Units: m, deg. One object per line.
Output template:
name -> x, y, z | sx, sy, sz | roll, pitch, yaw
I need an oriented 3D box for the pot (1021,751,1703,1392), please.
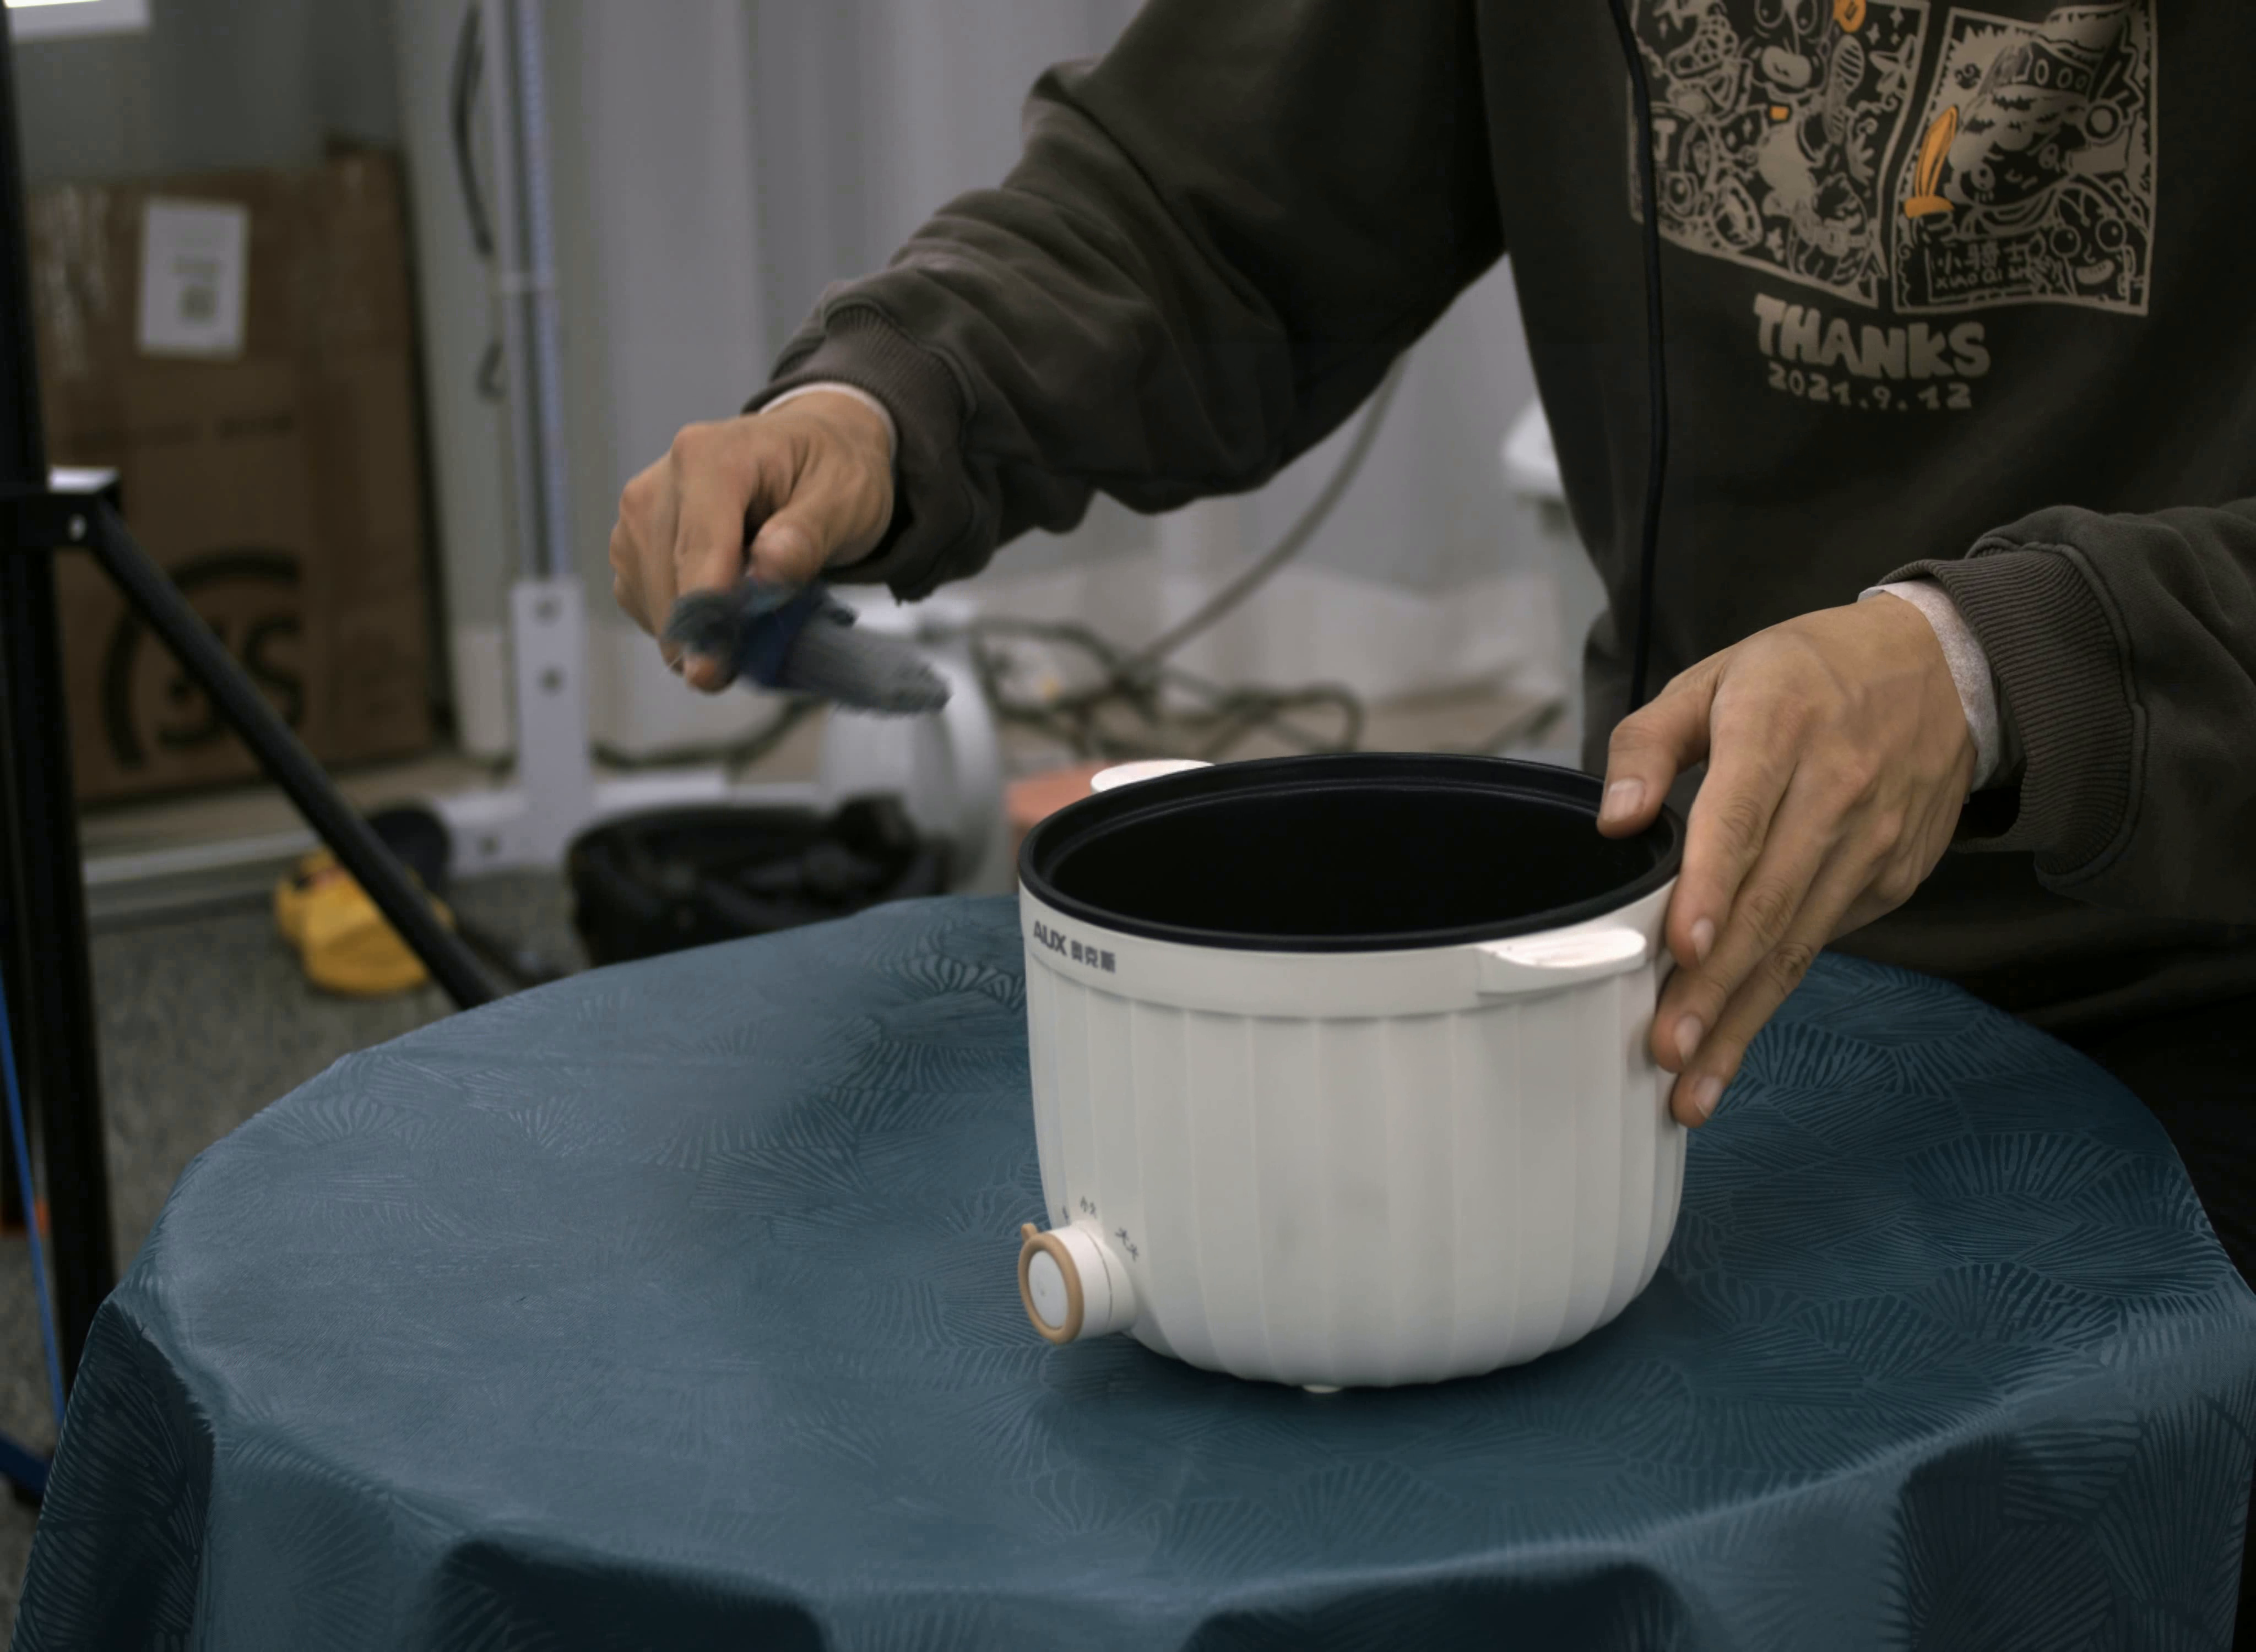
pot -> 0.059, 0.068, 1.436 | 0.186, 0.143, 0.245 | -8, 15, -30

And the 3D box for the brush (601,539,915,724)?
brush -> -0.116, -0.062, 1.549 | 0.094, 0.033, 0.276 | 19, 5, -13
